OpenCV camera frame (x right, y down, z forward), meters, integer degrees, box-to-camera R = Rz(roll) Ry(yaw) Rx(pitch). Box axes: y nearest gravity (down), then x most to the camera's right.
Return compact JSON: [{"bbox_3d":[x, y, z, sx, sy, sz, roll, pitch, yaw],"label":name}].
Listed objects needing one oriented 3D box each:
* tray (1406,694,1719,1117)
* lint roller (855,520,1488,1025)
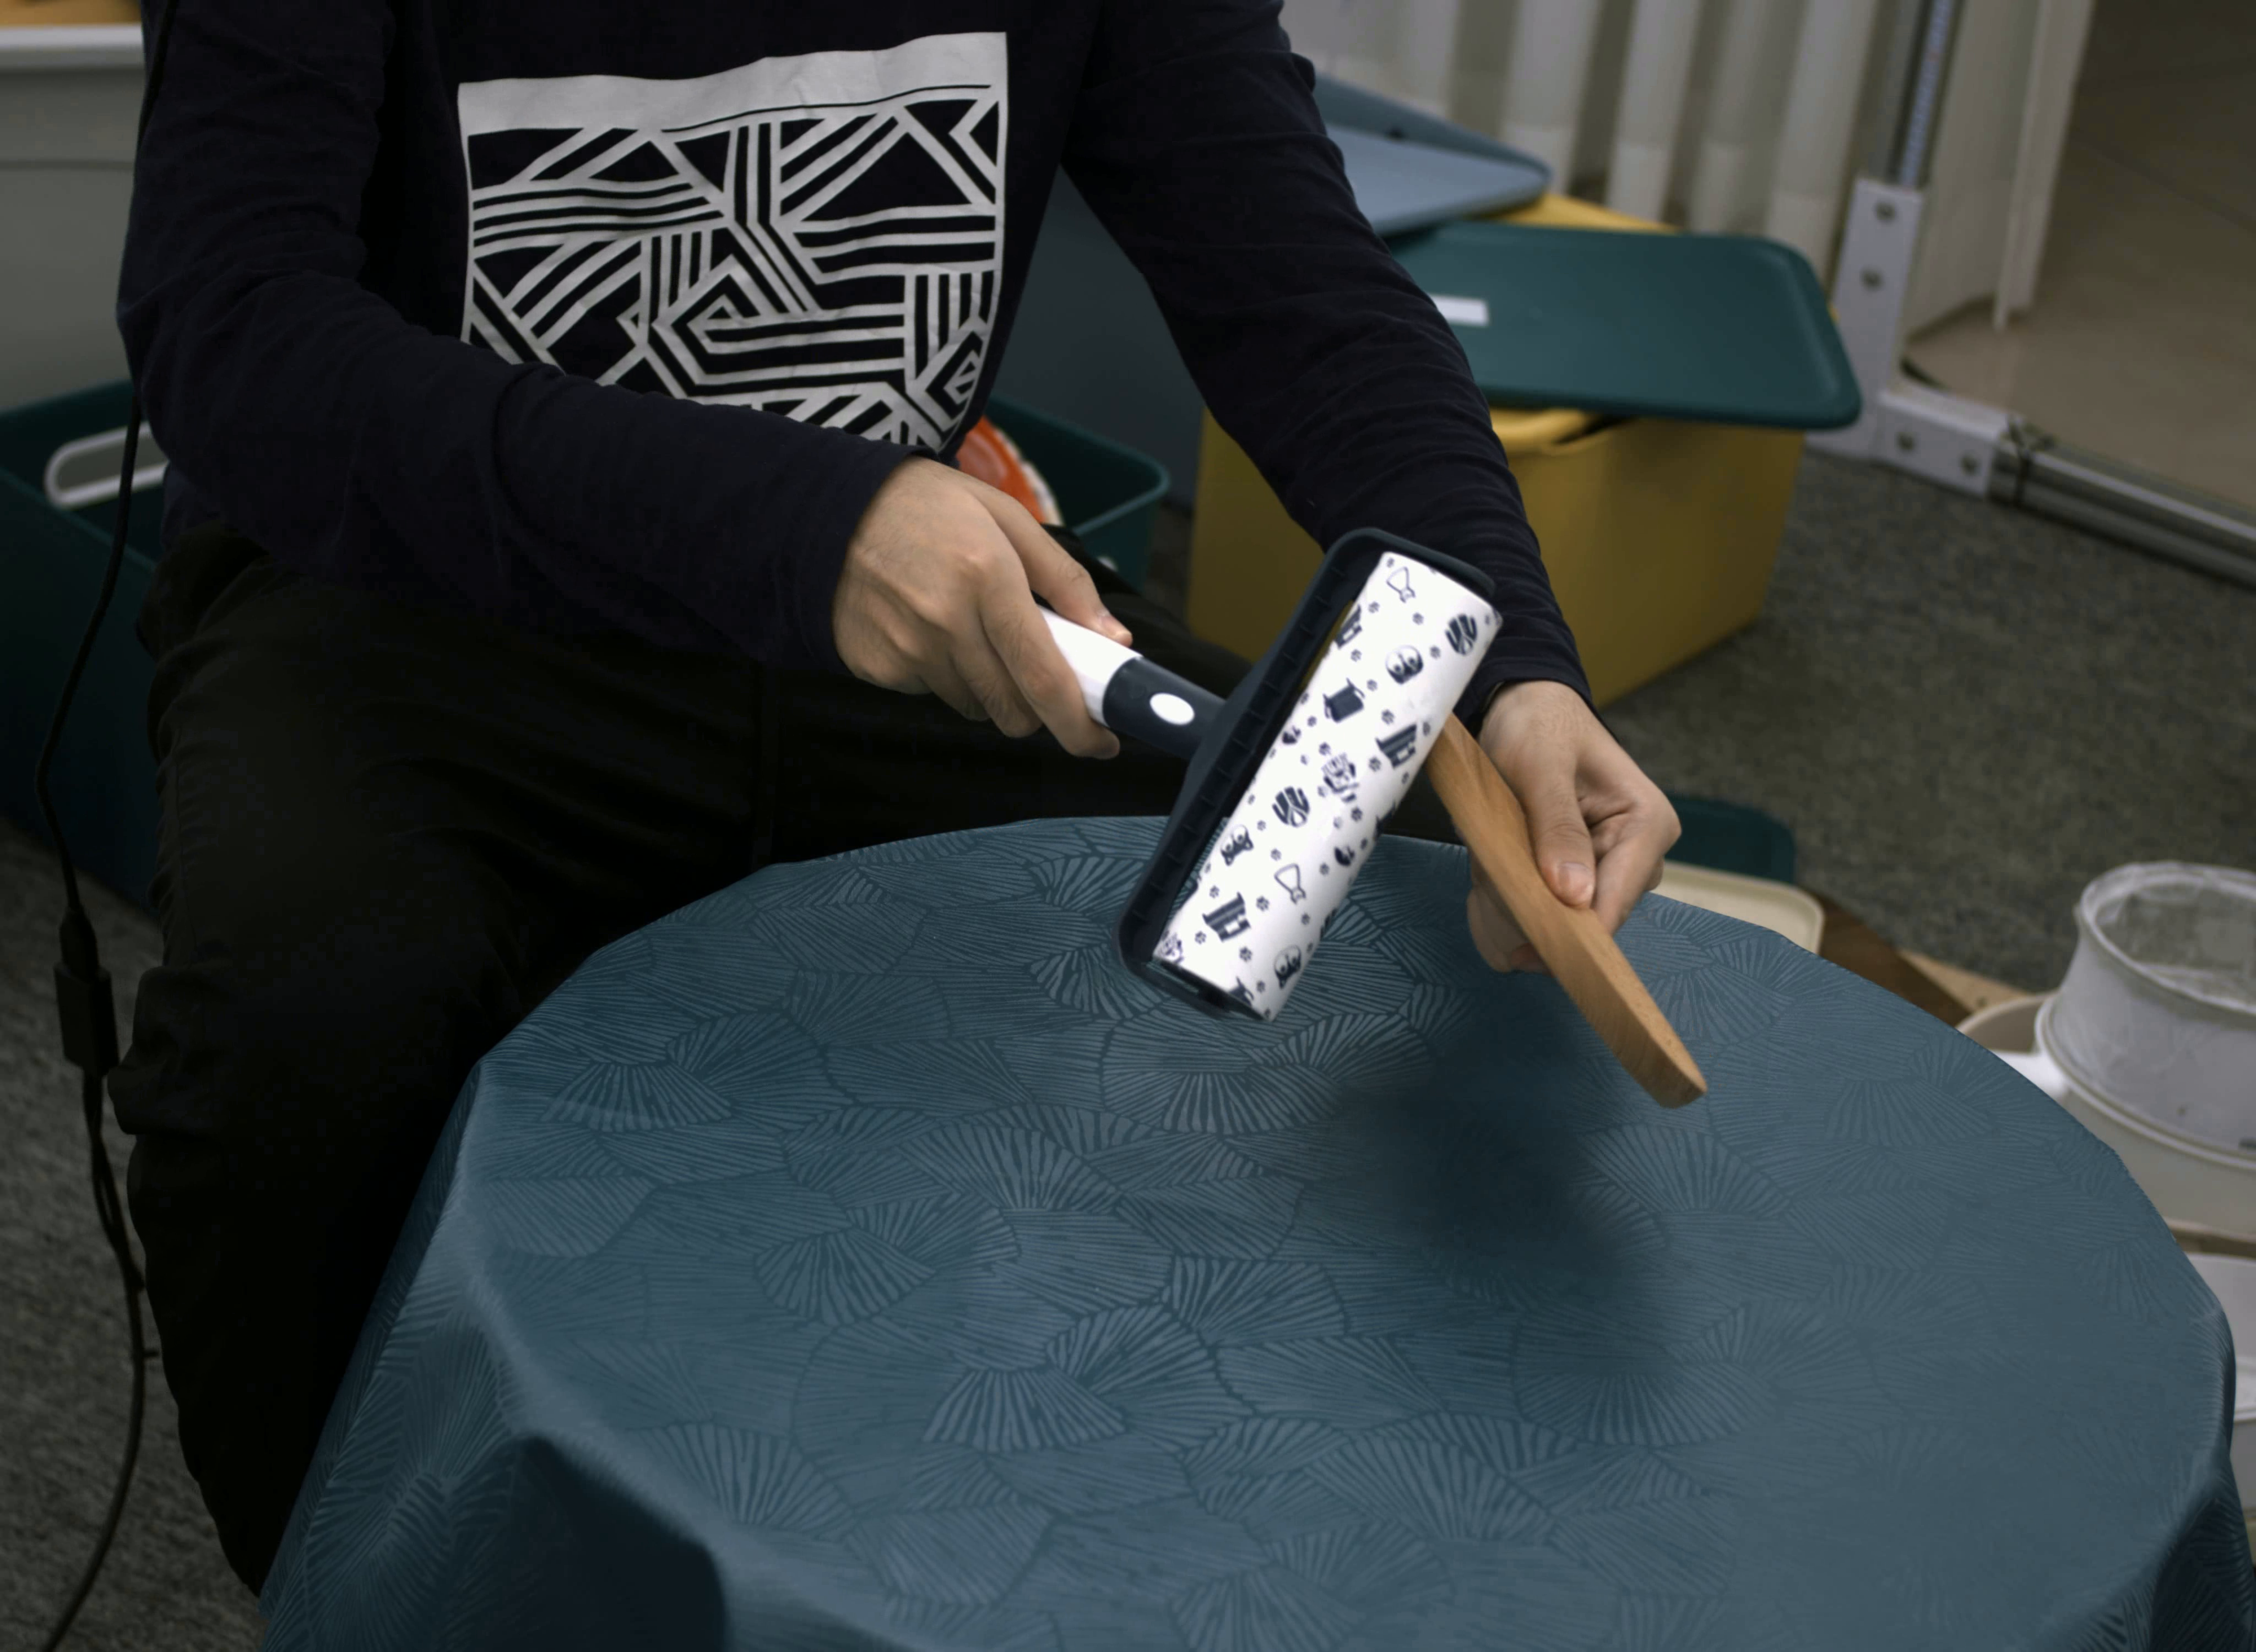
[{"bbox_3d":[0.140,0.019,1.822,0.020,0.101,0.233,-38,38,9],"label":"tray"},{"bbox_3d":[-0.009,-0.051,1.865,0.249,0.176,0.050,25,-6,35],"label":"lint roller"}]
